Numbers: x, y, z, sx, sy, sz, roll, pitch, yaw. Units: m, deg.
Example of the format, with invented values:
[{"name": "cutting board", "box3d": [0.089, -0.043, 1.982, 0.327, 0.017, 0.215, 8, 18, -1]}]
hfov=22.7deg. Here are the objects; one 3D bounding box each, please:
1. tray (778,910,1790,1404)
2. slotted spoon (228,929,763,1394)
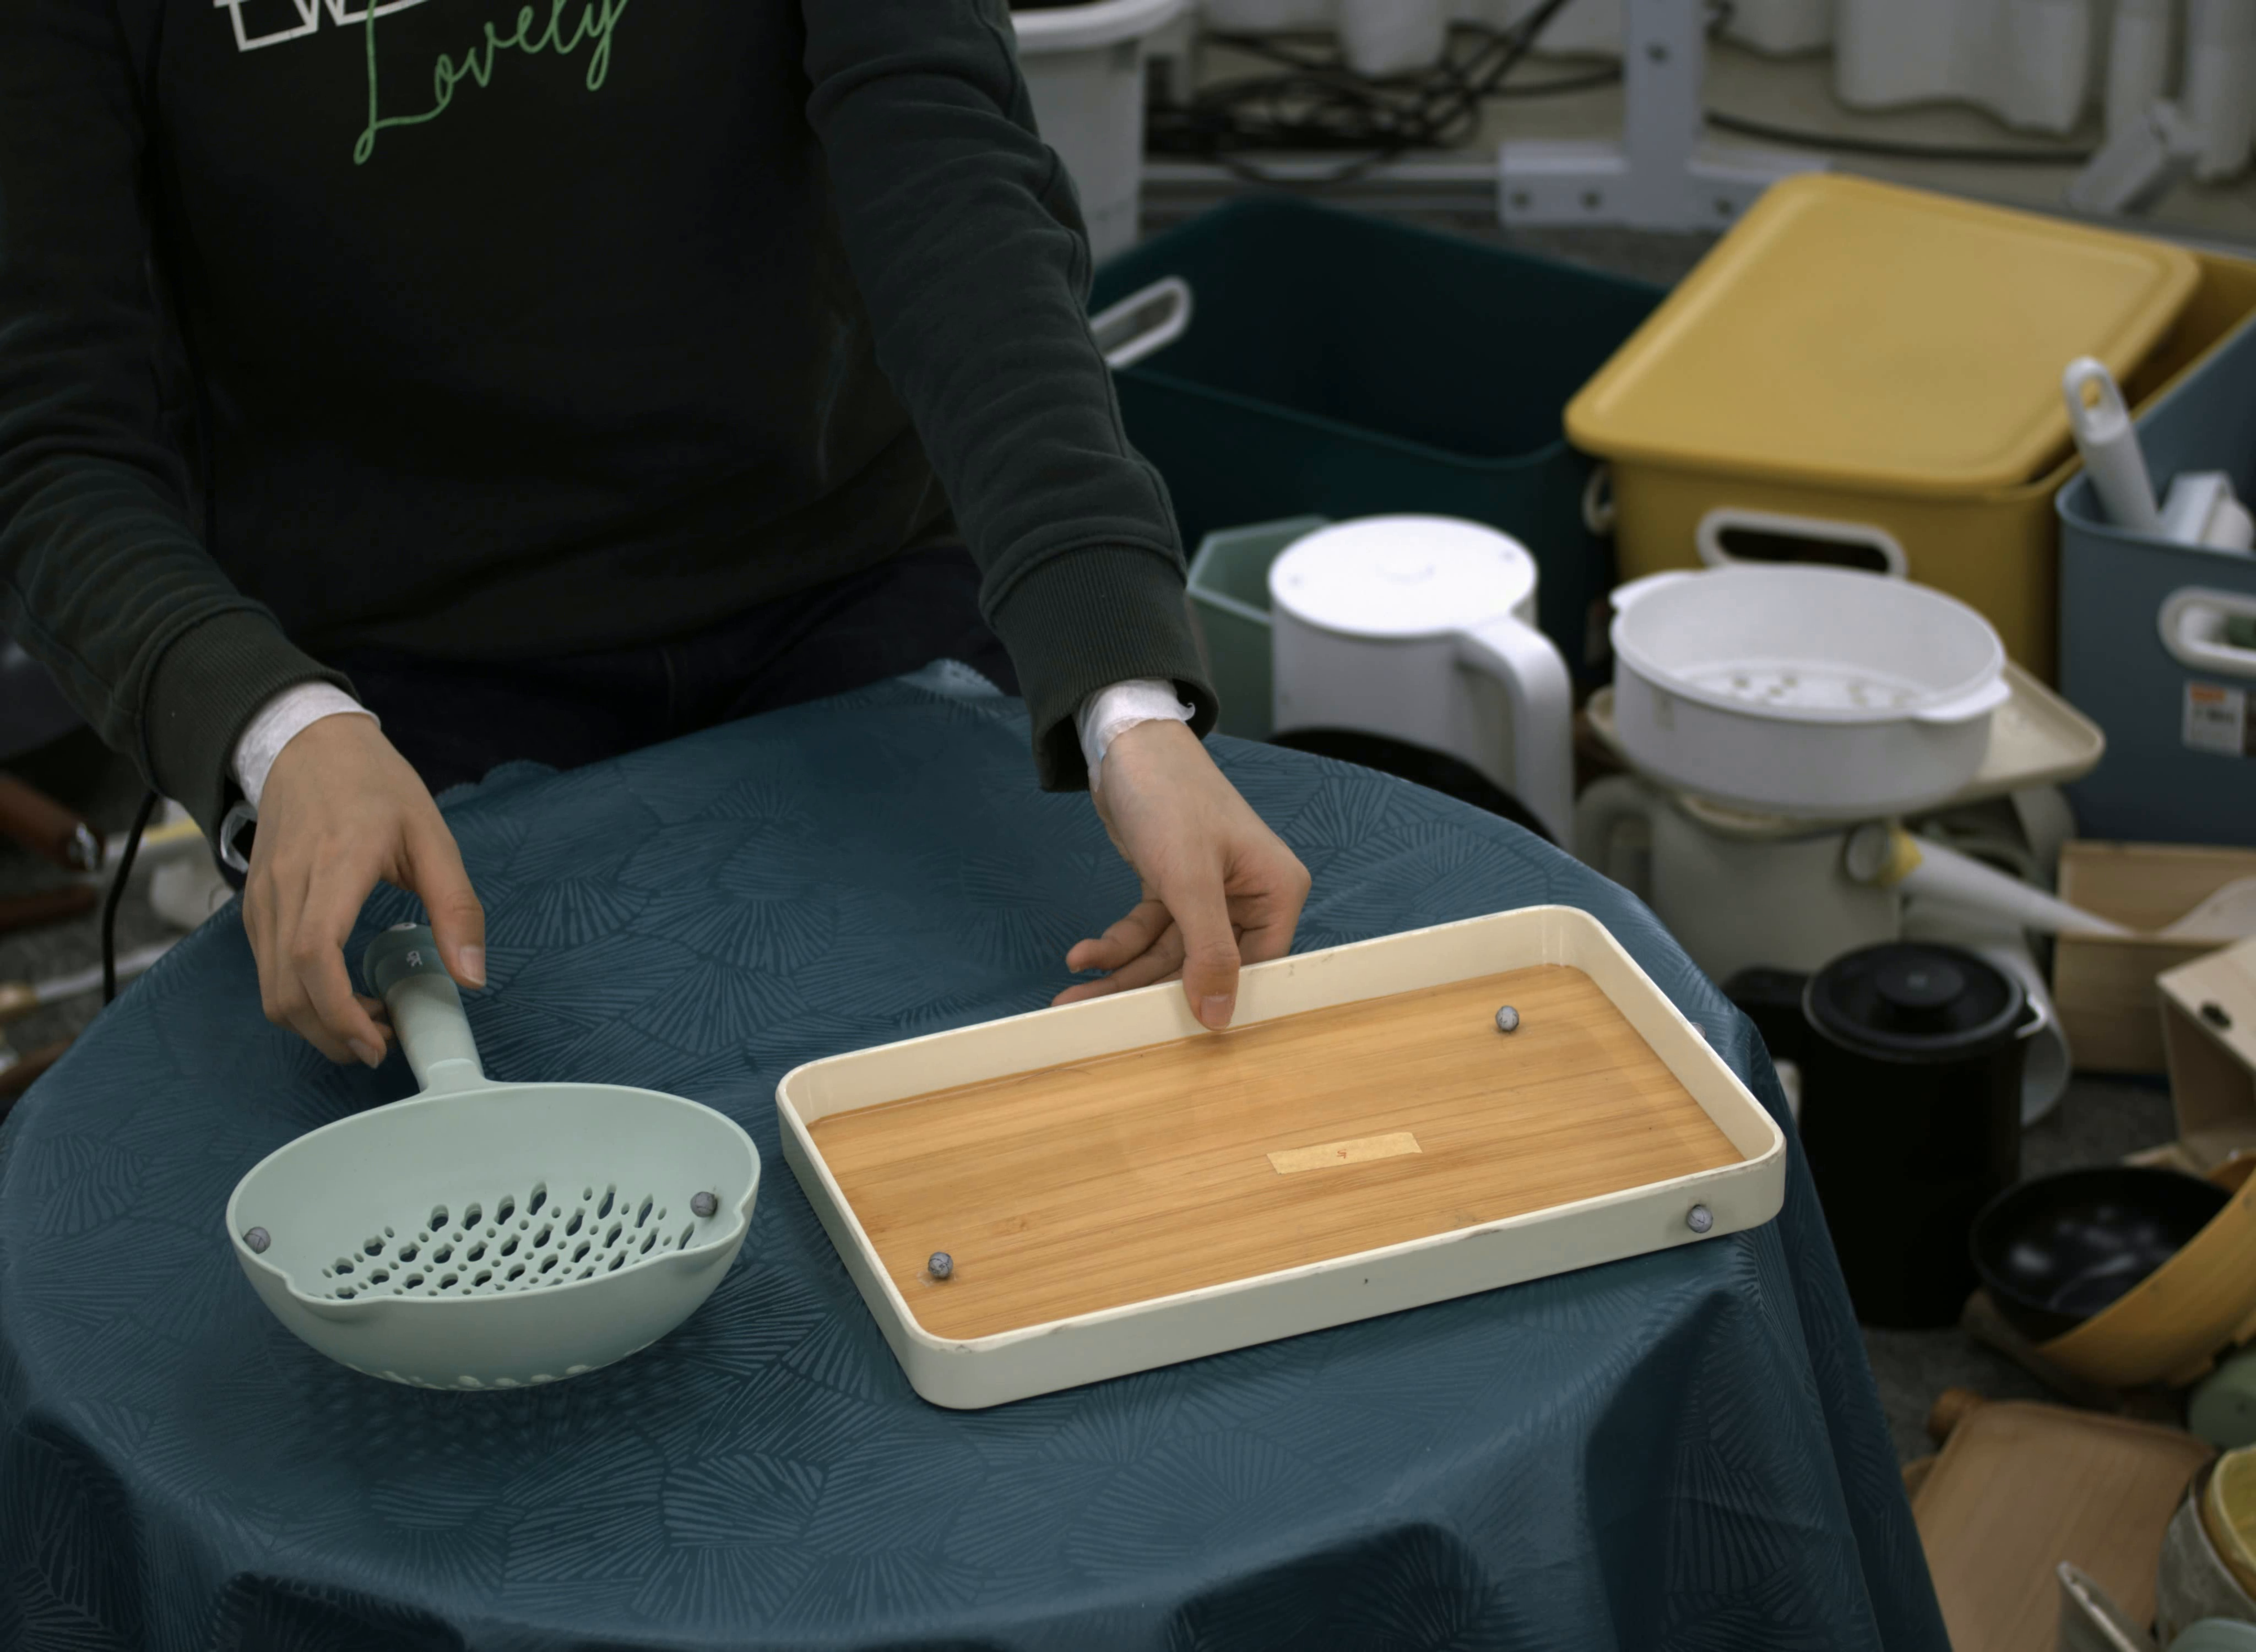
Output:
[{"name": "tray", "box3d": [0.049, 0.106, 1.859, 0.301, 0.027, 0.193, -11, 28, -16]}, {"name": "slotted spoon", "box3d": [-0.221, 0.096, 1.865, 0.169, 0.074, 0.363, -7, 27, -12]}]
